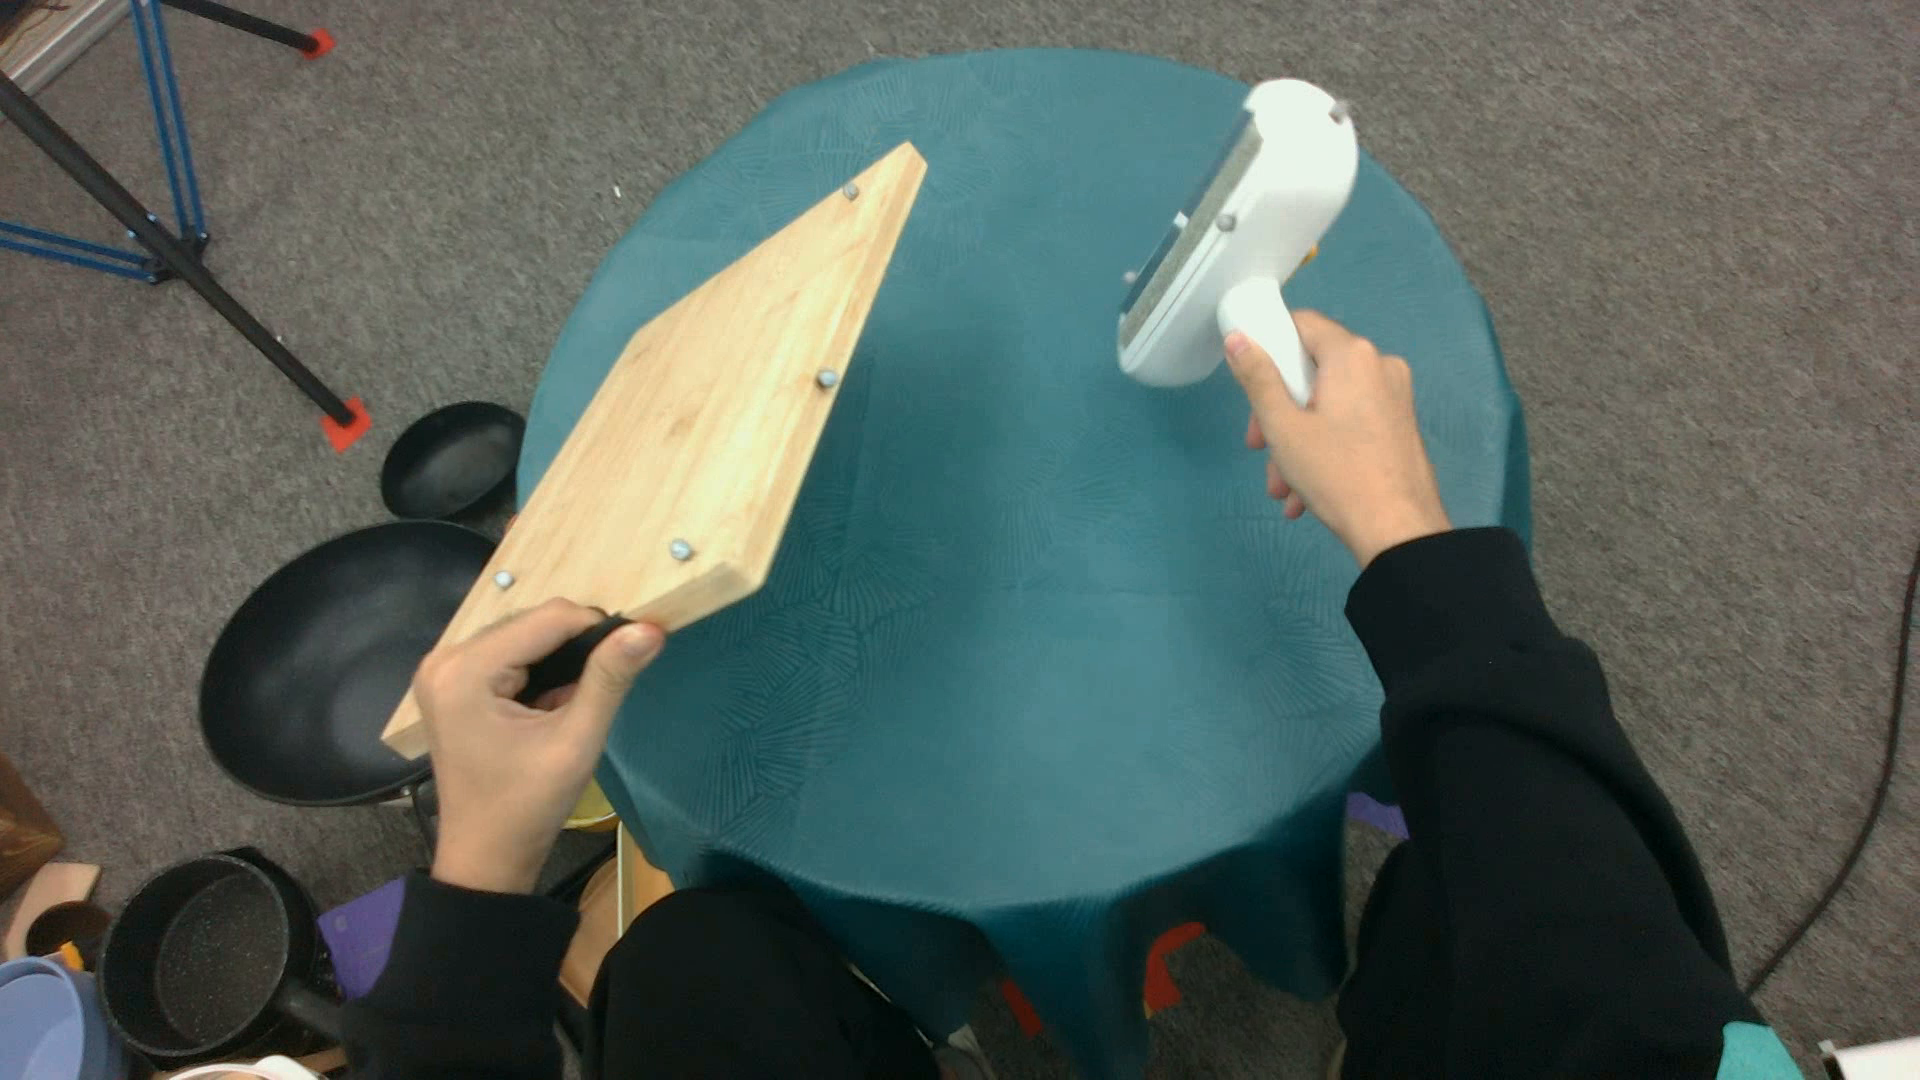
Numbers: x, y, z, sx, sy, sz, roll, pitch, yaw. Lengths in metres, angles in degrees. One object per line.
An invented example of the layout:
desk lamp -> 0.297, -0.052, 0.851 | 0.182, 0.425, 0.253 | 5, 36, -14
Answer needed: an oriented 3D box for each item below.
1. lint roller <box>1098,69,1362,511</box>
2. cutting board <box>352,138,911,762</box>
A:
lint roller -> 0.145, -0.106, 0.693 | 0.074, 0.192, 0.193 | 6, 63, -27
cutting board -> -0.153, -0.060, 0.701 | 0.250, 0.023, 0.350 | -25, 33, 30
